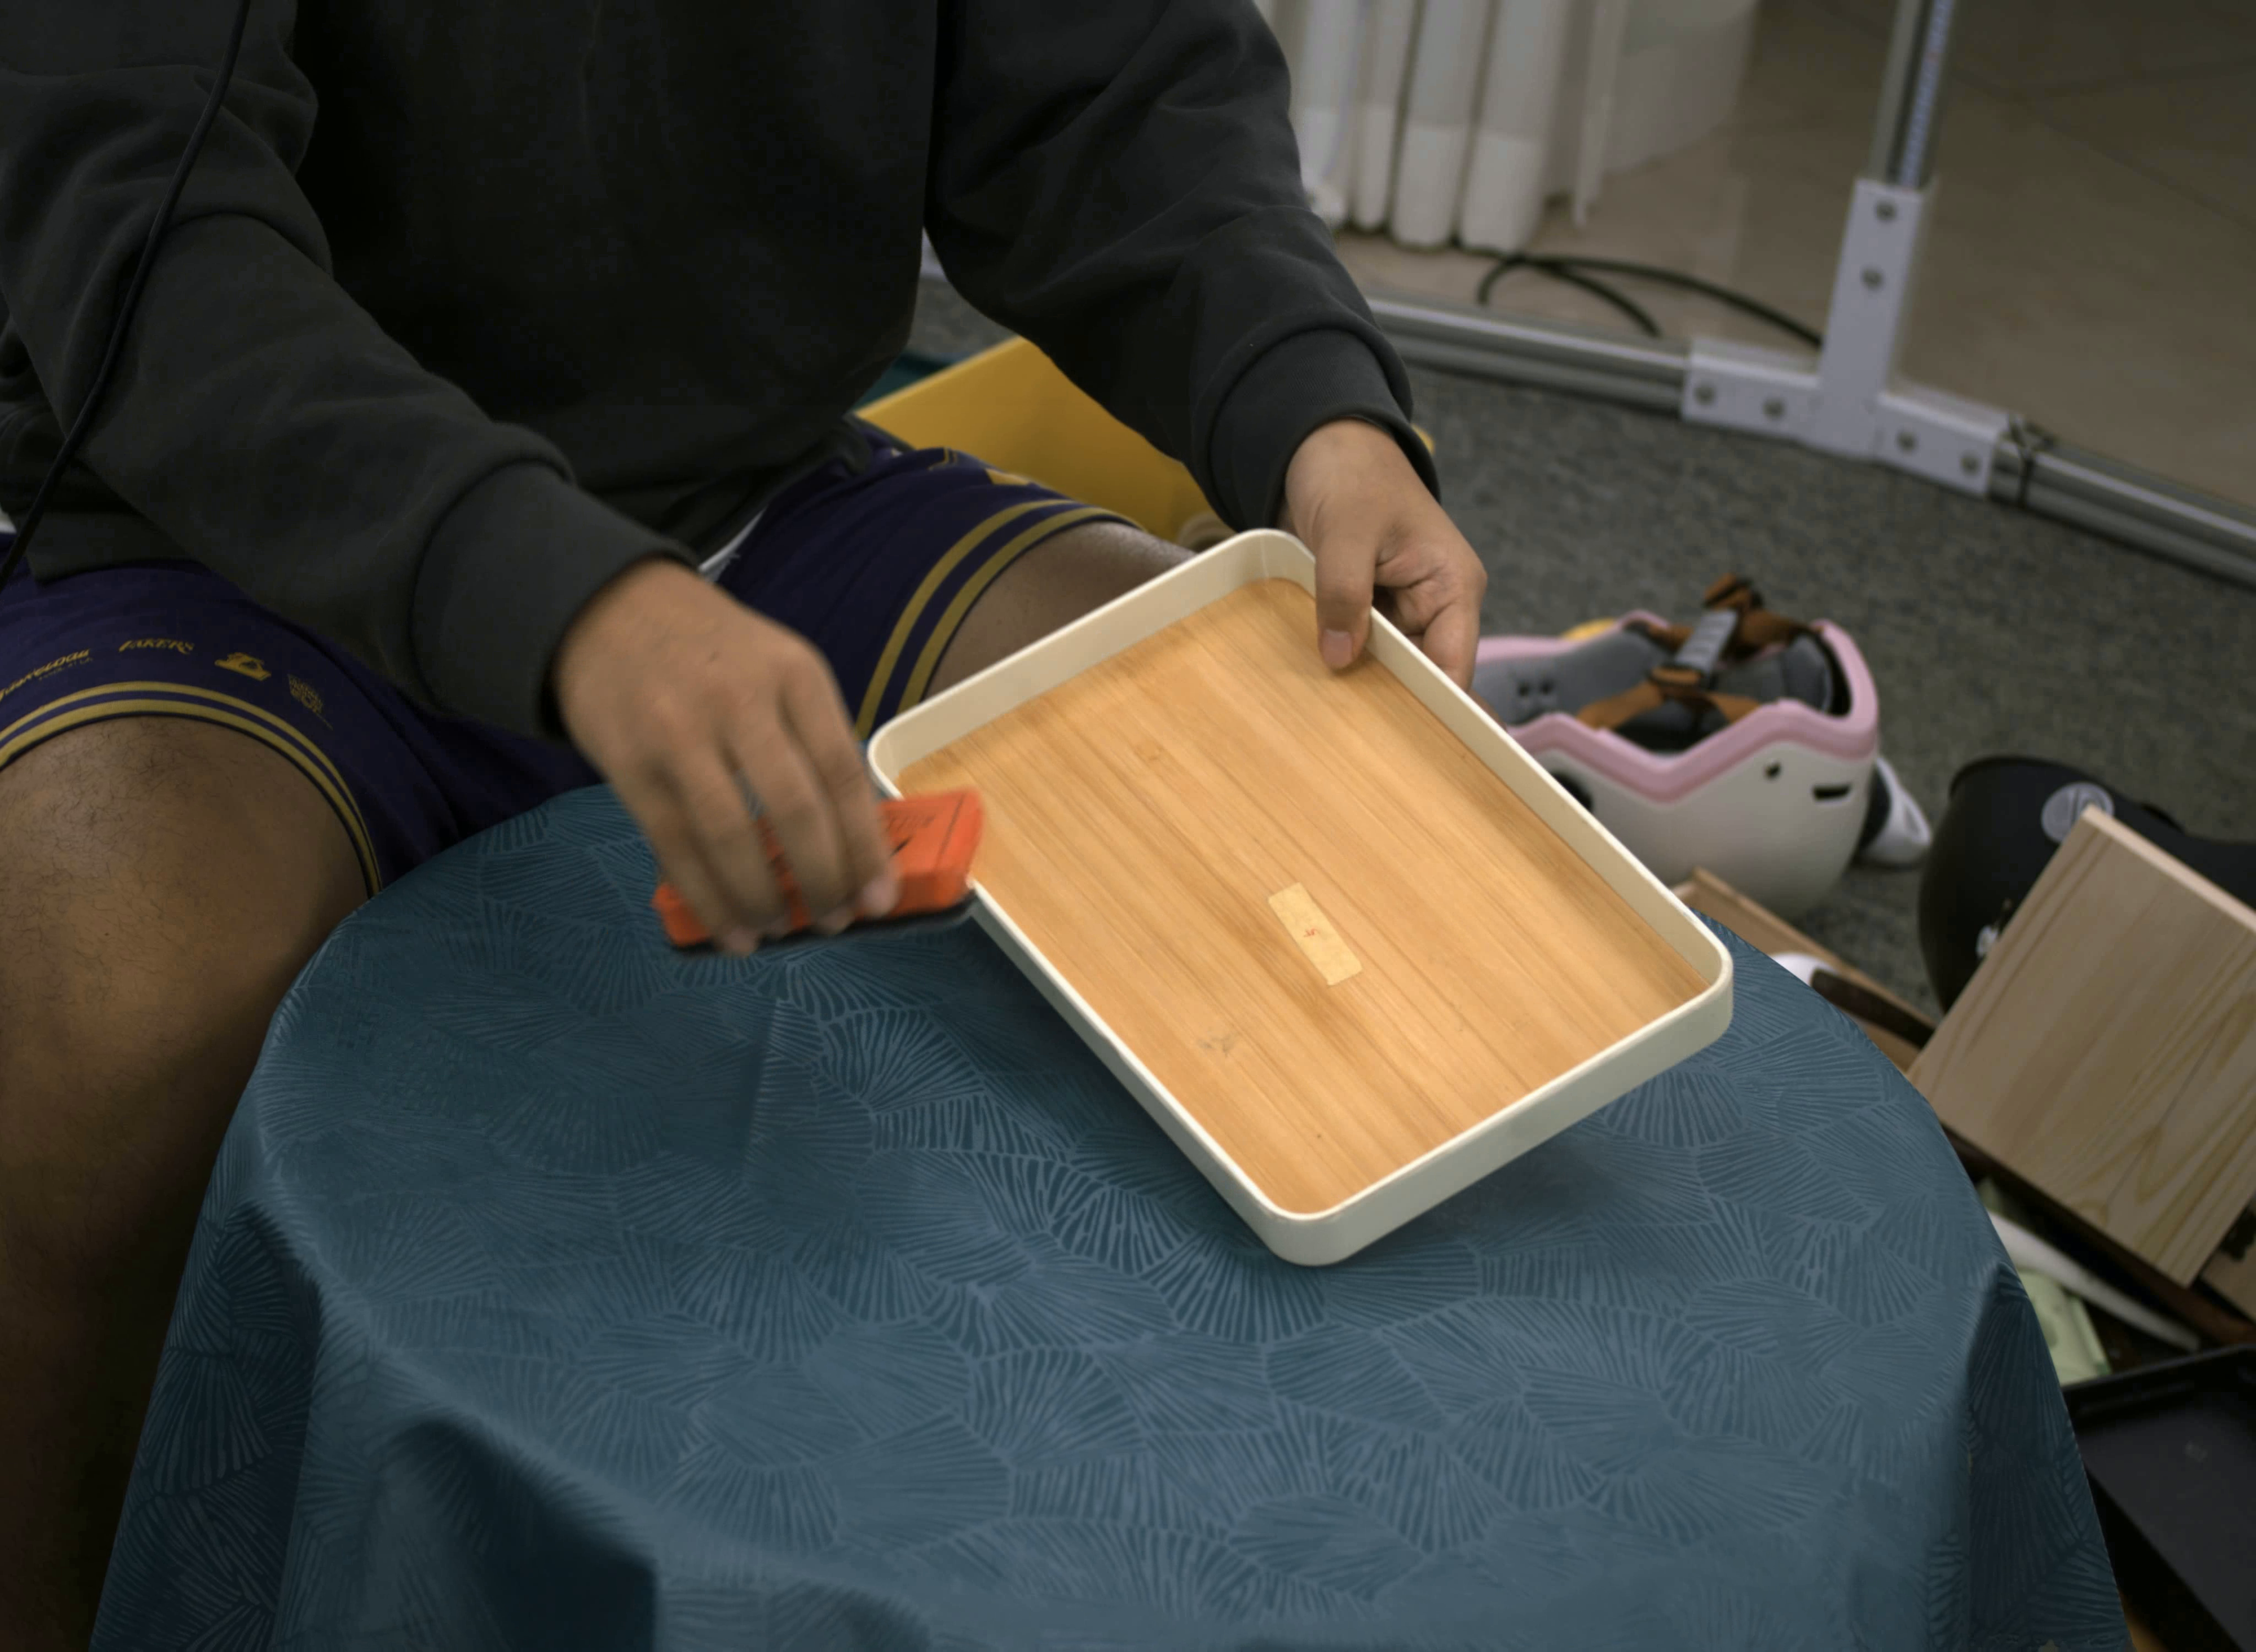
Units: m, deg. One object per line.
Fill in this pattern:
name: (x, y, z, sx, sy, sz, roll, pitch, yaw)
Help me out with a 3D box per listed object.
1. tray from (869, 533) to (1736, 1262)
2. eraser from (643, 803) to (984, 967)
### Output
tray: (0.057, 0.019, 1.880, 0.191, 0.027, 0.303, -29, 46, -16)
eraser: (-0.105, 0.020, 1.784, 0.108, 0.023, 0.059, -7, 27, 17)
